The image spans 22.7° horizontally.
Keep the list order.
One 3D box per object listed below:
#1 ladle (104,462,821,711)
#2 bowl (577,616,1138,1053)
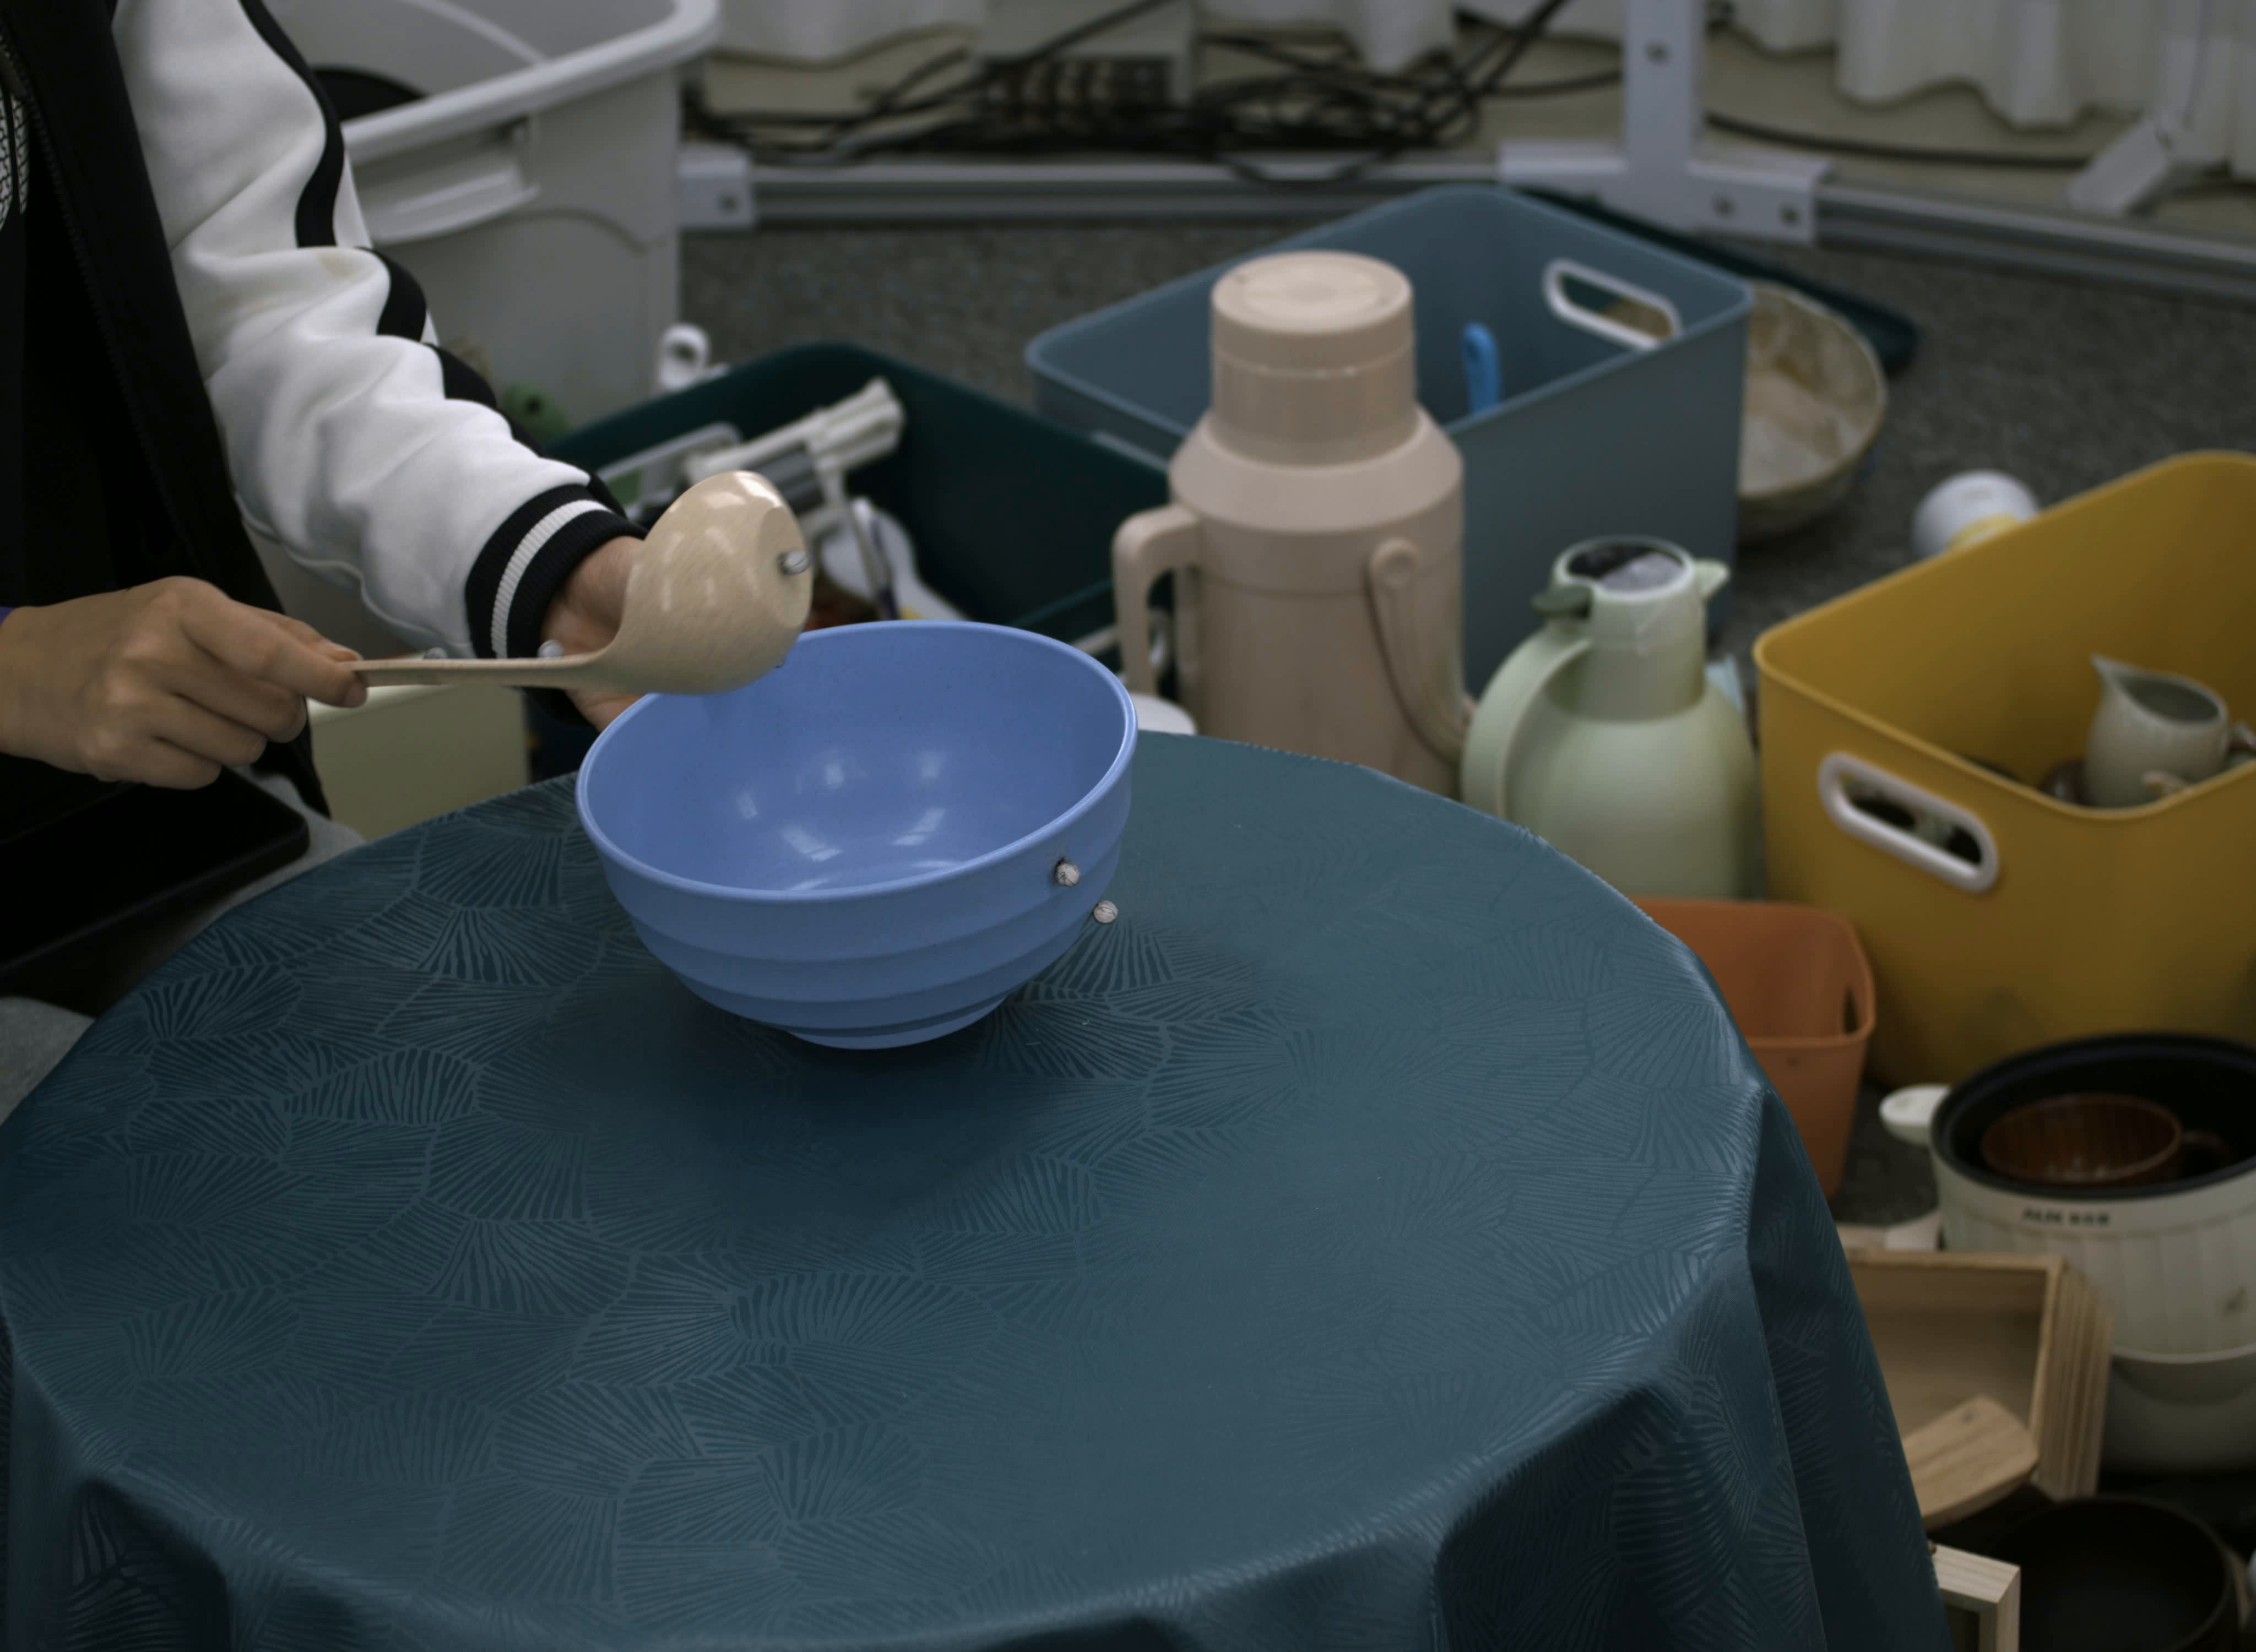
[{"bbox_3d":[-0.223,-0.077,1.873,0.252,0.071,0.074,-3,55,23],"label":"ladle"},{"bbox_3d":[-0.087,0.016,1.960,0.195,0.094,0.200,-6,29,4],"label":"bowl"}]
